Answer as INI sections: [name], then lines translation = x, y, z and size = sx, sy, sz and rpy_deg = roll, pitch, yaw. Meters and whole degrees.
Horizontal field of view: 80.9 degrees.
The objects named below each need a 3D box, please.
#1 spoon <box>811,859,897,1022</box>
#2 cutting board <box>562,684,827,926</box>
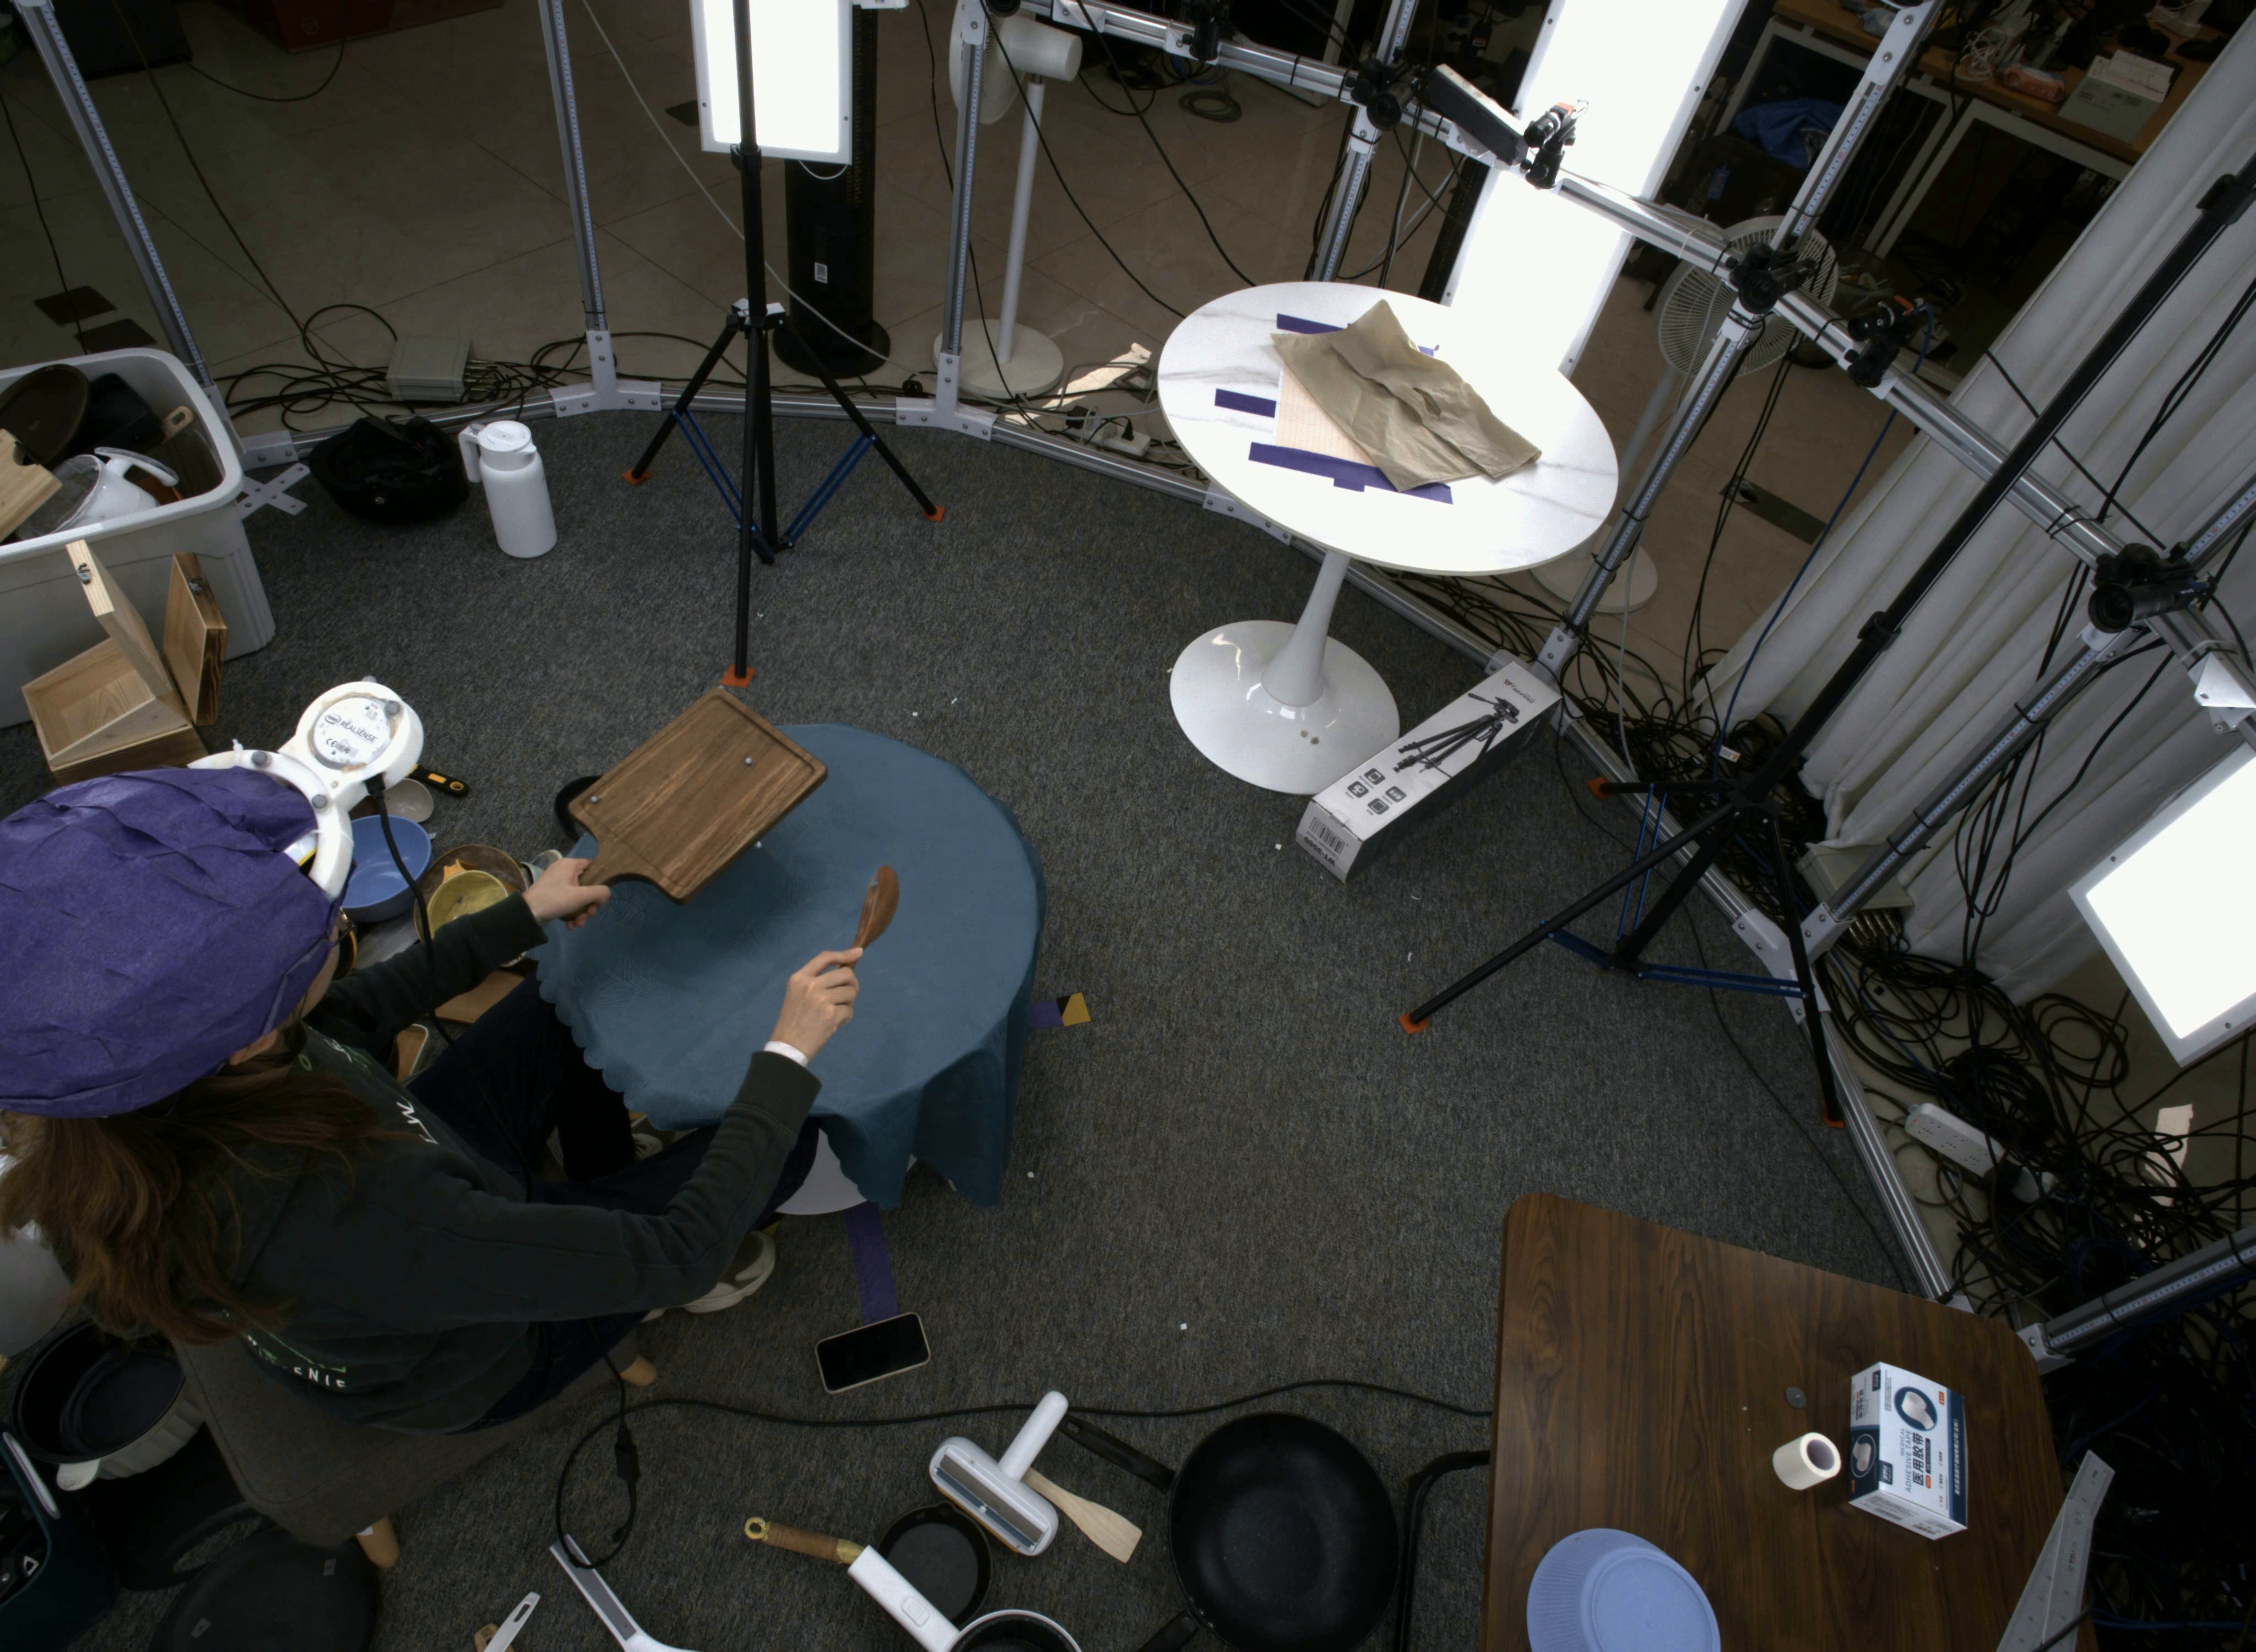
[spoon]
translation = -0.292, 0.122, 1.410
size = 0.017, 0.078, 0.213
rpy_deg = 13, 47, 9
[cutting board]
translation = -0.550, -0.012, 1.542
size = 0.198, 0.023, 0.352
rpy_deg = 37, 60, 9
